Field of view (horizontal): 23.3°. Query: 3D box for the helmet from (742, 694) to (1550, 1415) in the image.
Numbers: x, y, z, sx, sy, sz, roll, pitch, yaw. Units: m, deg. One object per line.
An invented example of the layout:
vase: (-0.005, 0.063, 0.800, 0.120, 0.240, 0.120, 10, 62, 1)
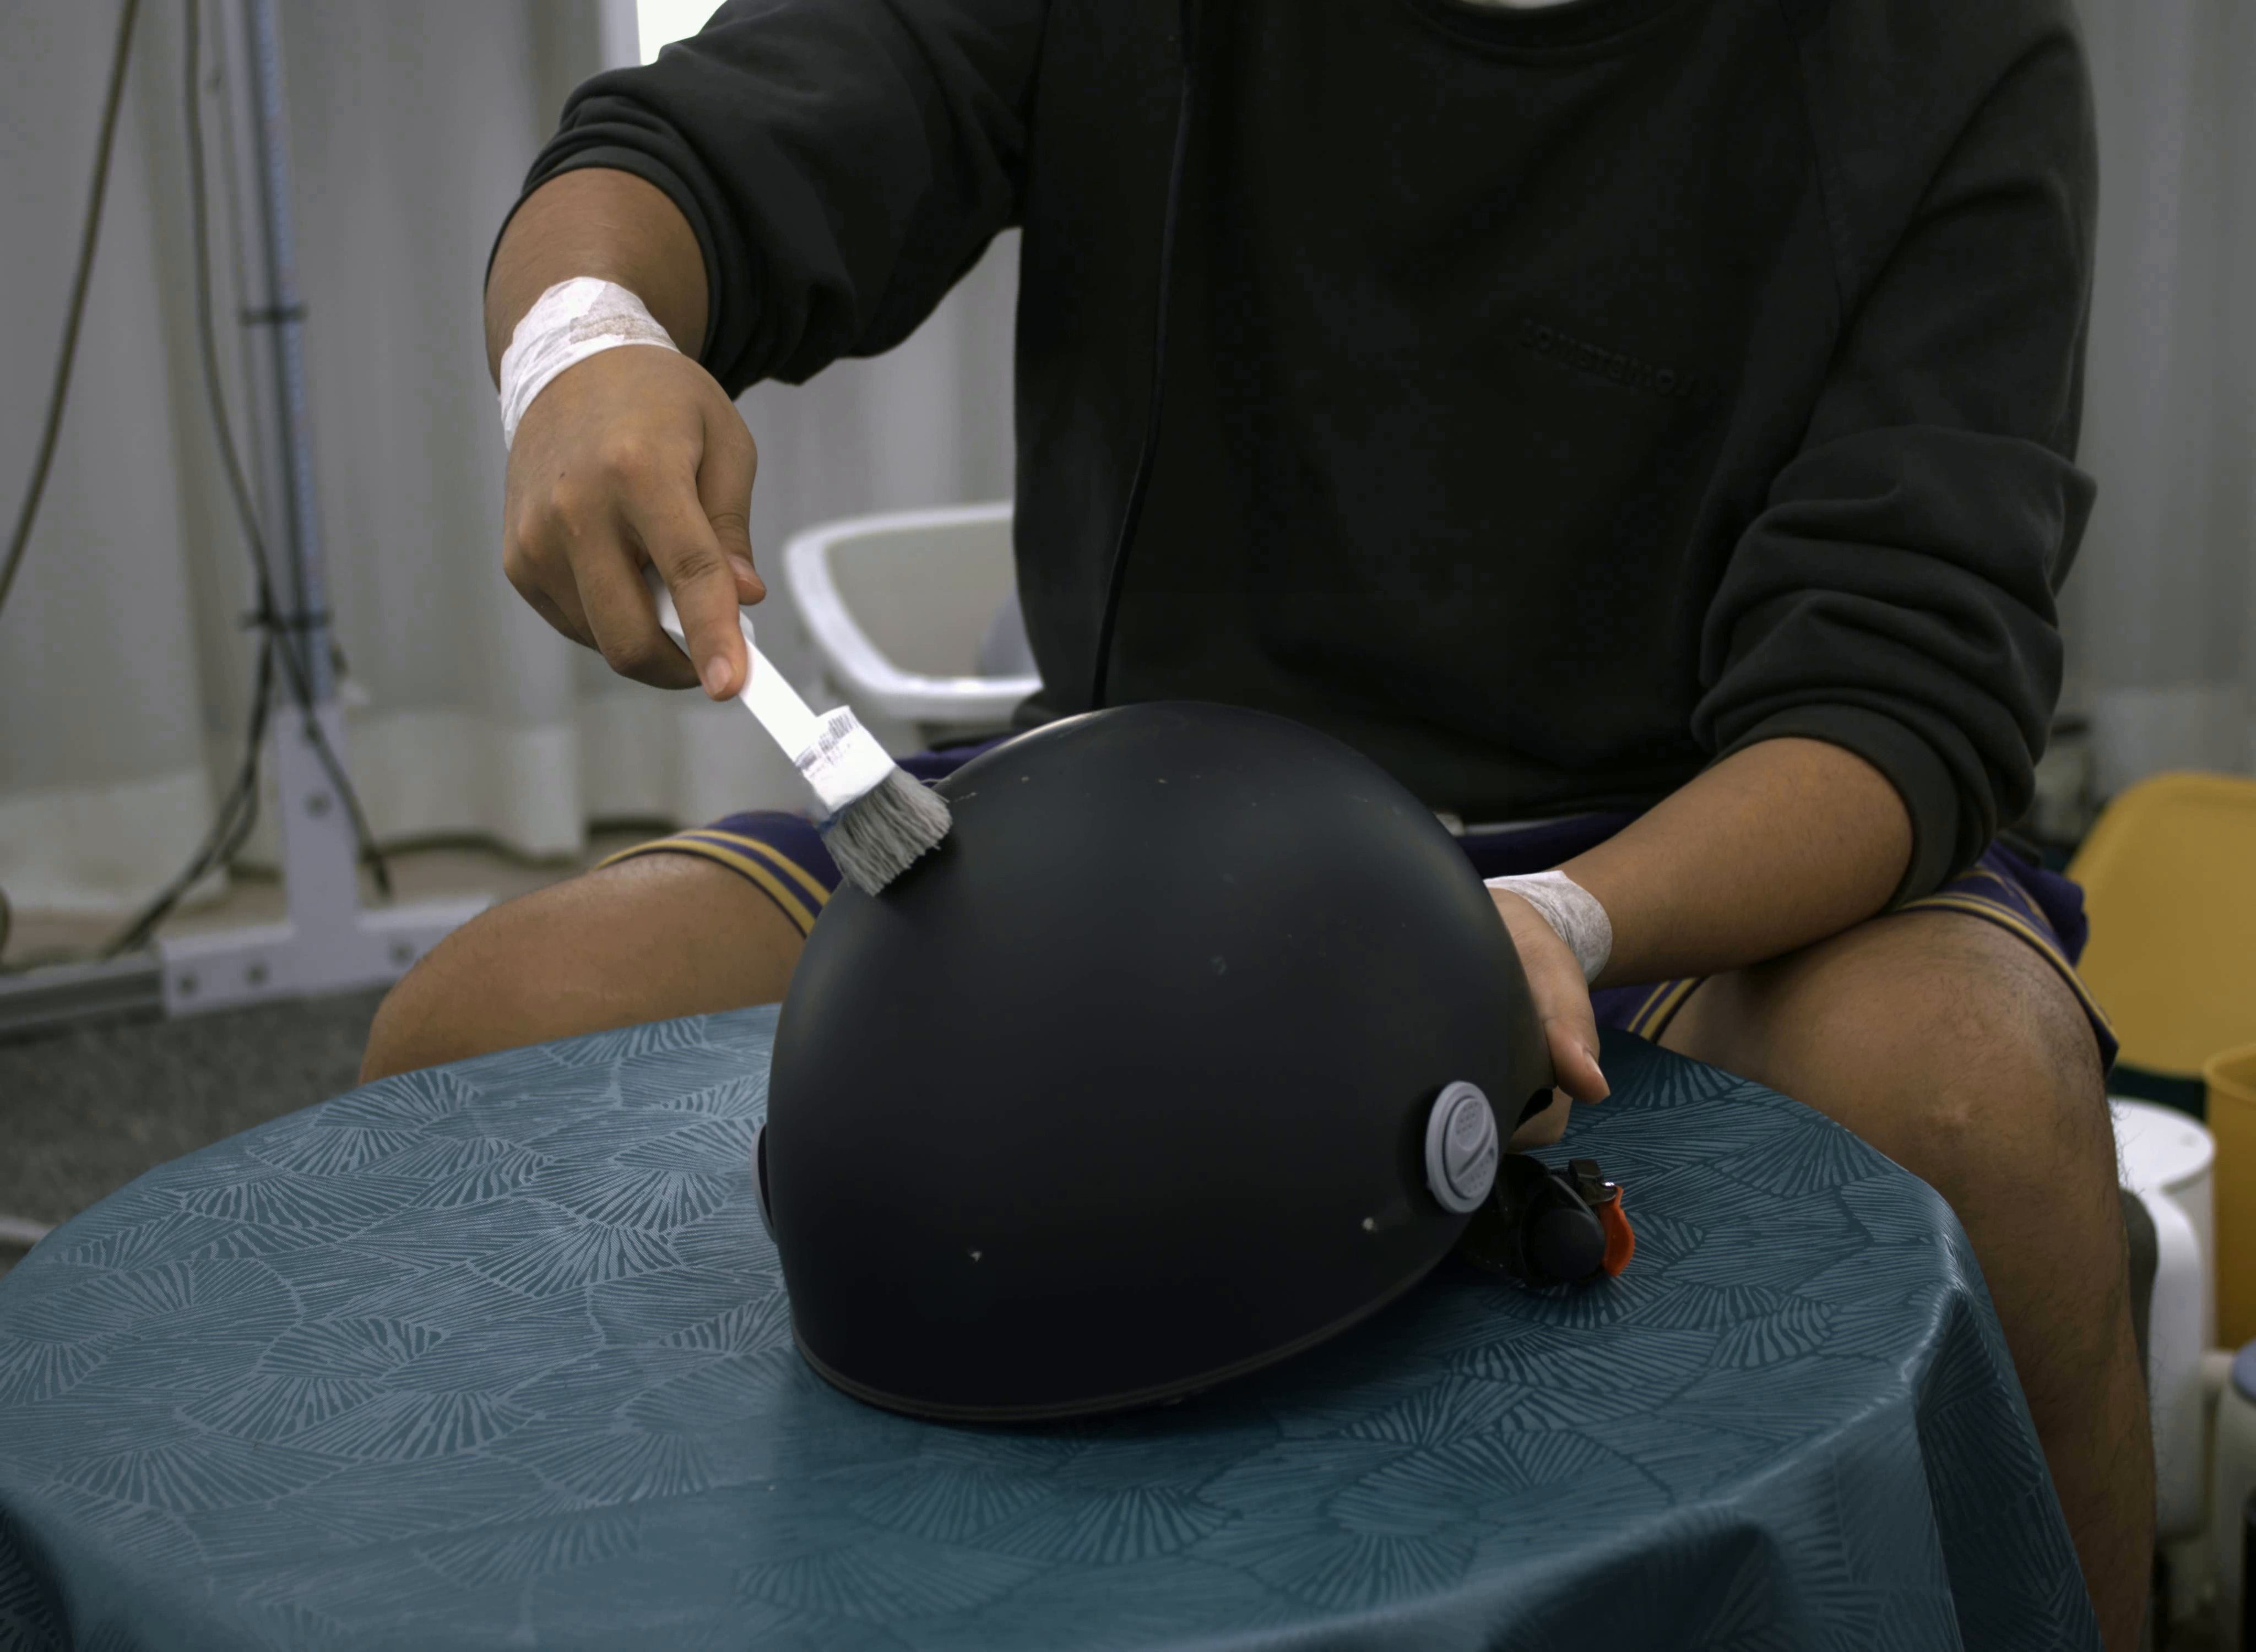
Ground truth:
helmet: (-0.001, 0.053, 1.615, 0.230, 0.166, 0.274, -5, 17, 25)

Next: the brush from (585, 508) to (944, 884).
brush: (-0.111, -0.041, 1.658, 0.034, 0.049, 0.246, -42, 30, -2)
